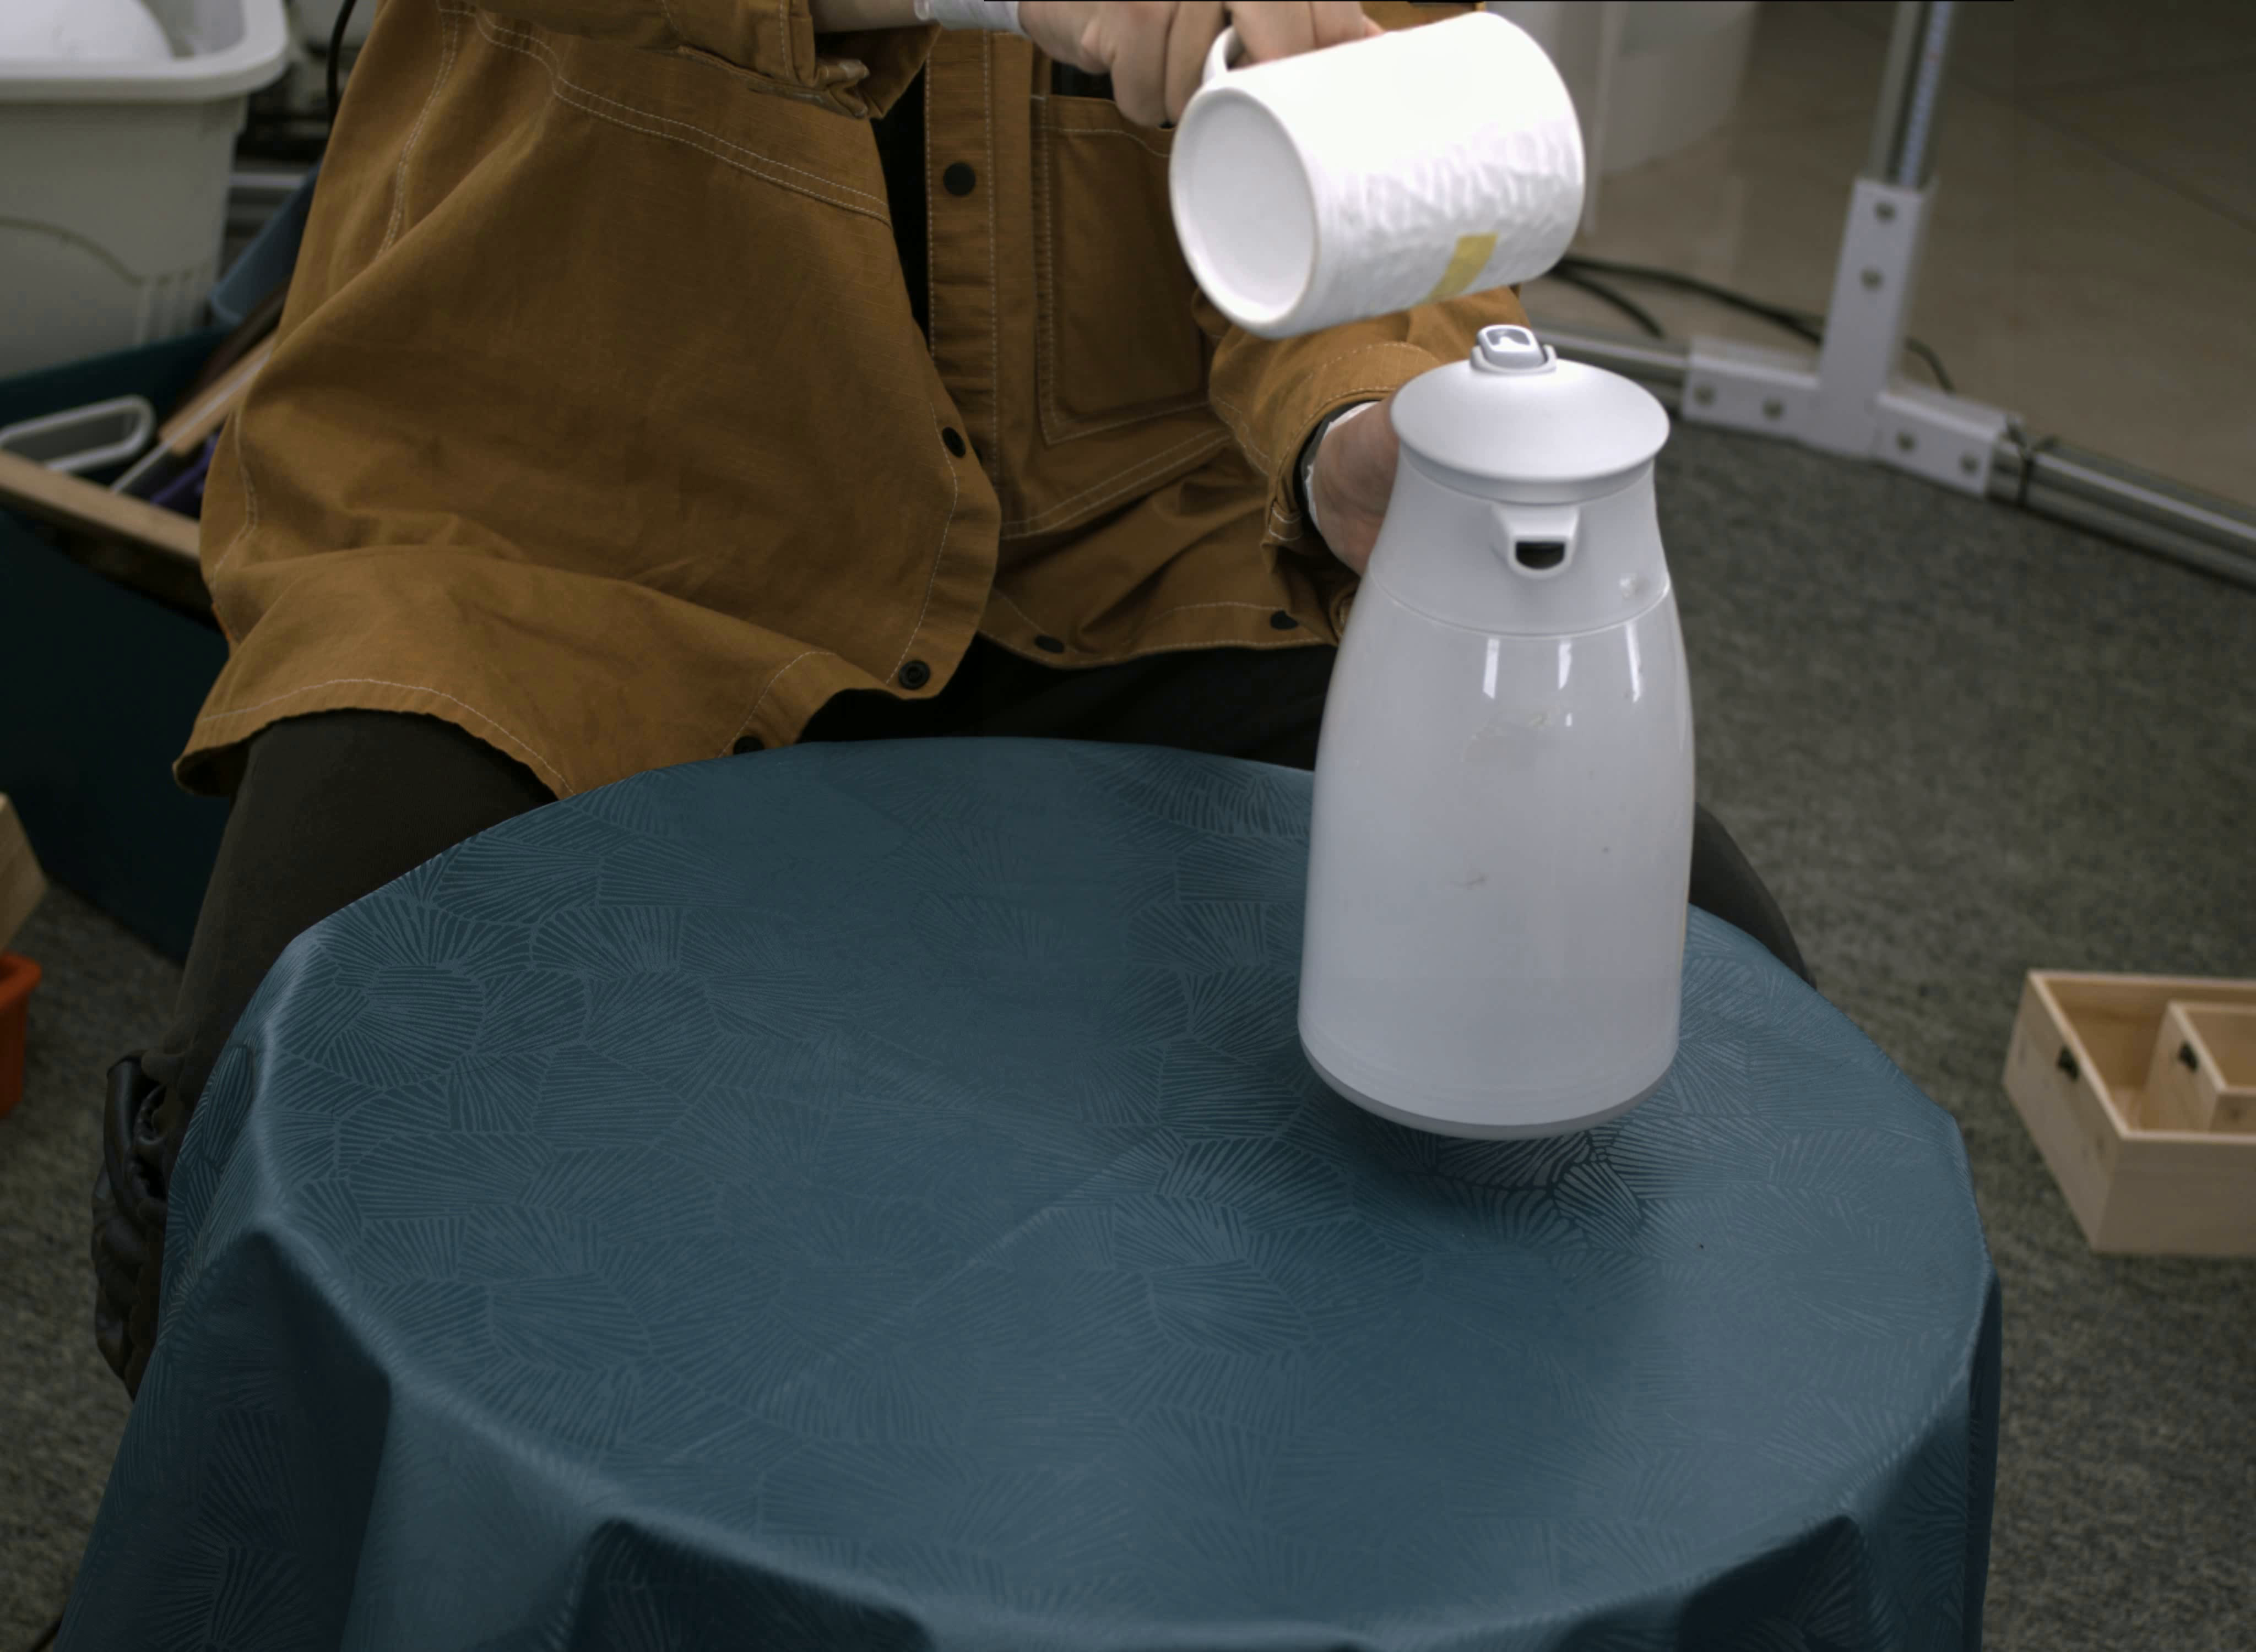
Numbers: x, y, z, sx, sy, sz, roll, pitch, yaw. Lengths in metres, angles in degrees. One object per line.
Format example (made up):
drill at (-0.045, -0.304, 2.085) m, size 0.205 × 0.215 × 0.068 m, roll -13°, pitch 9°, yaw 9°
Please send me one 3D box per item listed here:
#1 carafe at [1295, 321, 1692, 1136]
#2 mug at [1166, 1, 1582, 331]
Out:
carafe at (0.124, -0.043, 1.808) m, size 0.132 × 0.247 × 0.169 m, roll 0°, pitch 29°, yaw -2°
mug at (0.066, -0.214, 1.657) m, size 0.101 × 0.084 × 0.119 m, roll -17°, pitch 53°, yaw -33°
